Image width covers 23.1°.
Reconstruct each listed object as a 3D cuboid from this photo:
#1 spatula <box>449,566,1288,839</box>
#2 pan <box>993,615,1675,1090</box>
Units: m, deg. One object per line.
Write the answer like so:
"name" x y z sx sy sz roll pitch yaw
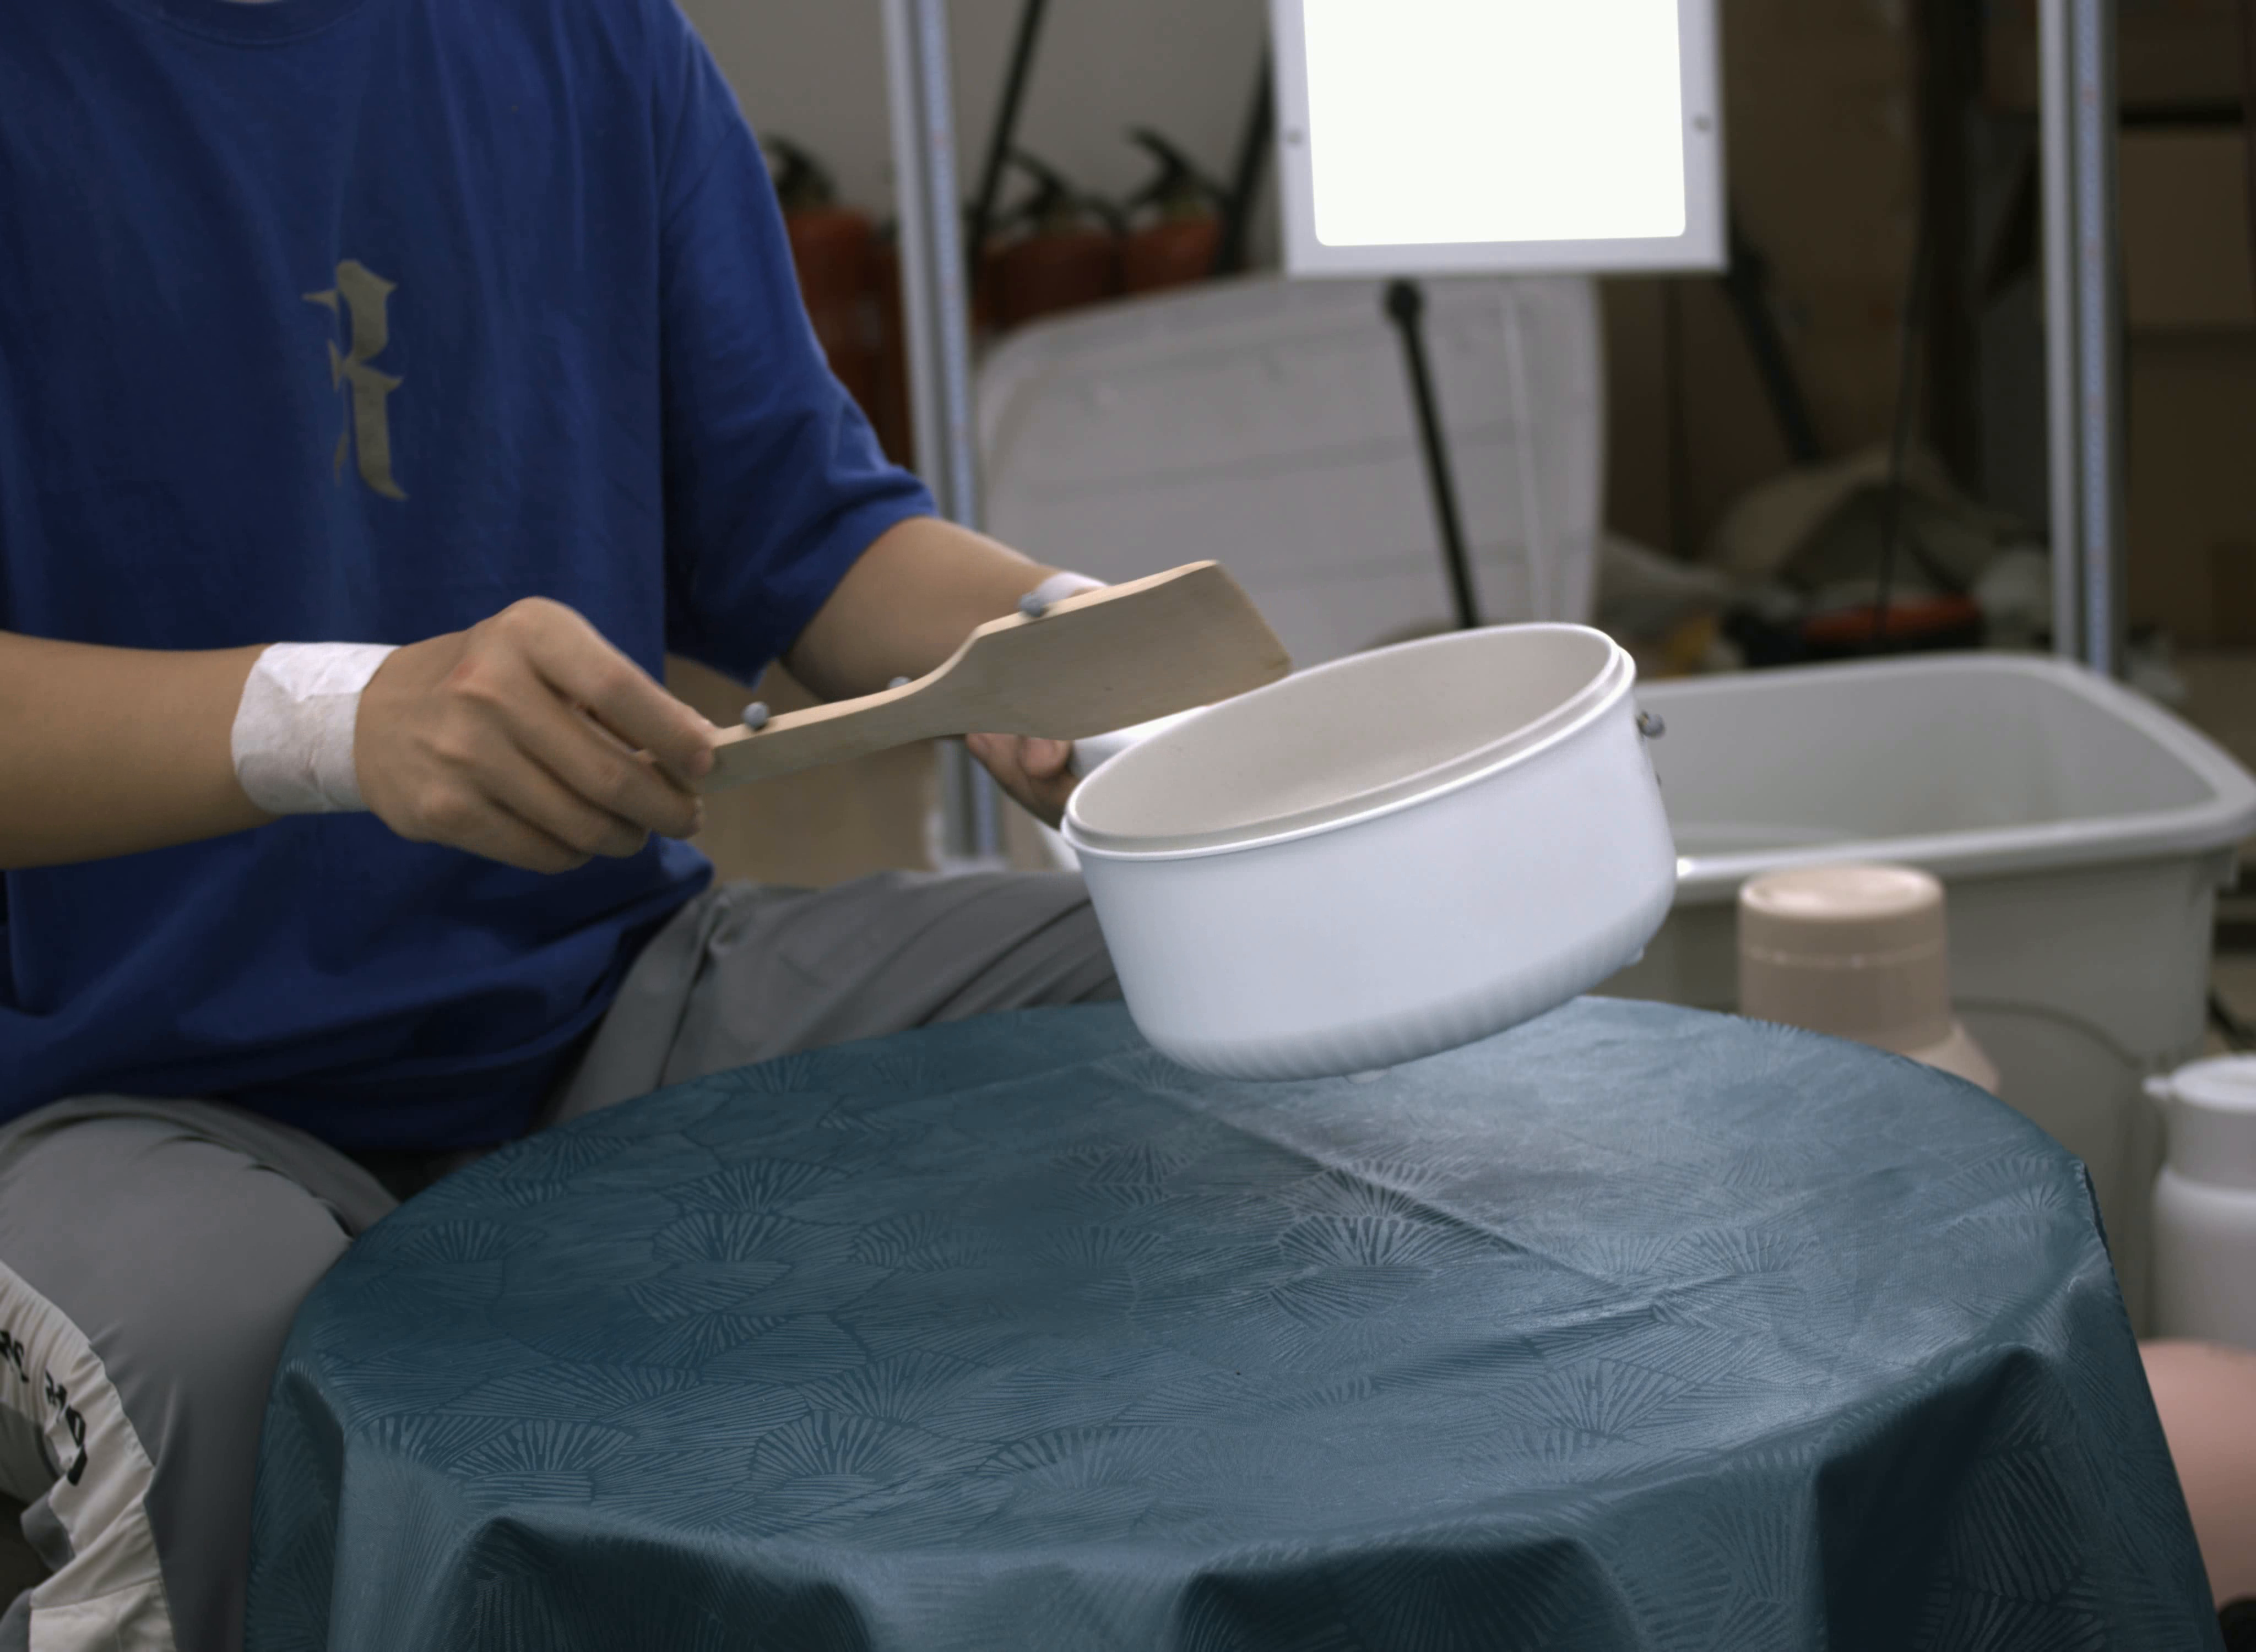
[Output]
"spatula" -0.093 -0.034 1.815 0.297 0.071 0.010 -13 54 21
"pan" 0.052 0.006 1.933 0.198 0.102 0.361 -26 16 -21
